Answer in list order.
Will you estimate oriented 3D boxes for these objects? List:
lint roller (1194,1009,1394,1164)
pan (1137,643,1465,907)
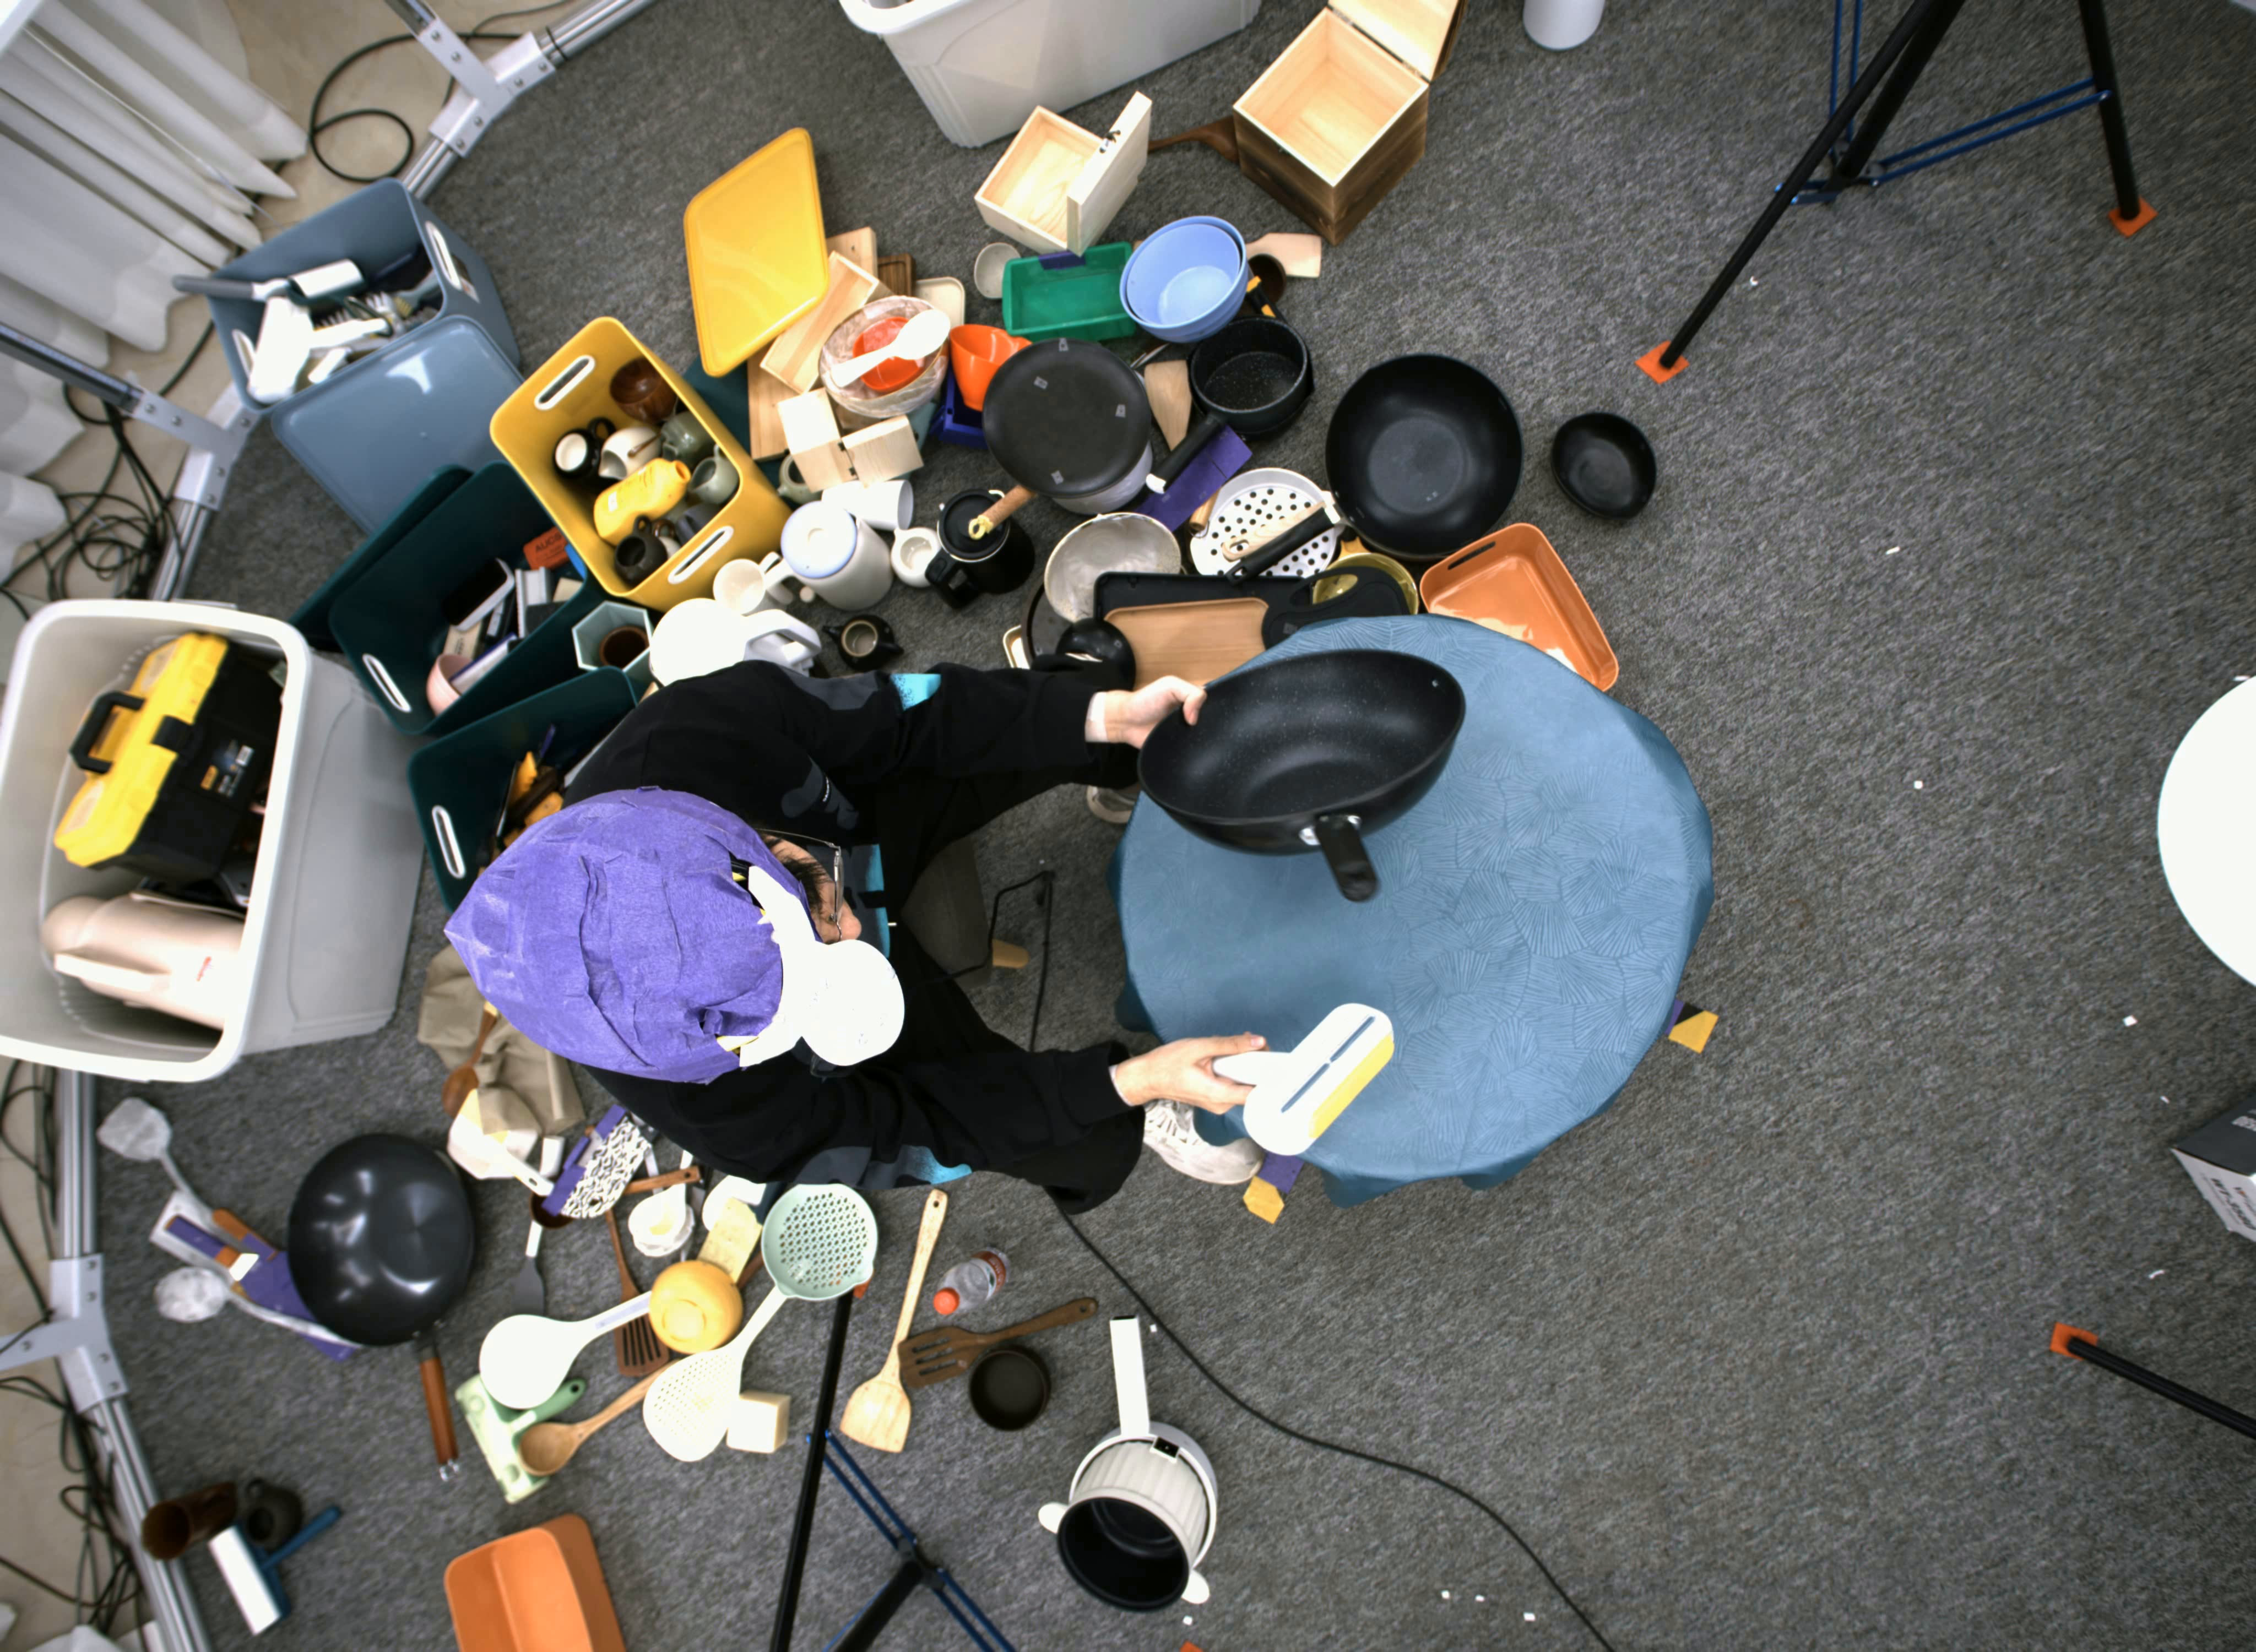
[{"bbox_3d":[0.137,0.234,1.334,0.192,0.189,0.075,14,132,43],"label":"lint roller"},{"bbox_3d":[0.171,-0.028,1.225,0.311,0.466,0.114,-17,121,6],"label":"pan"}]
